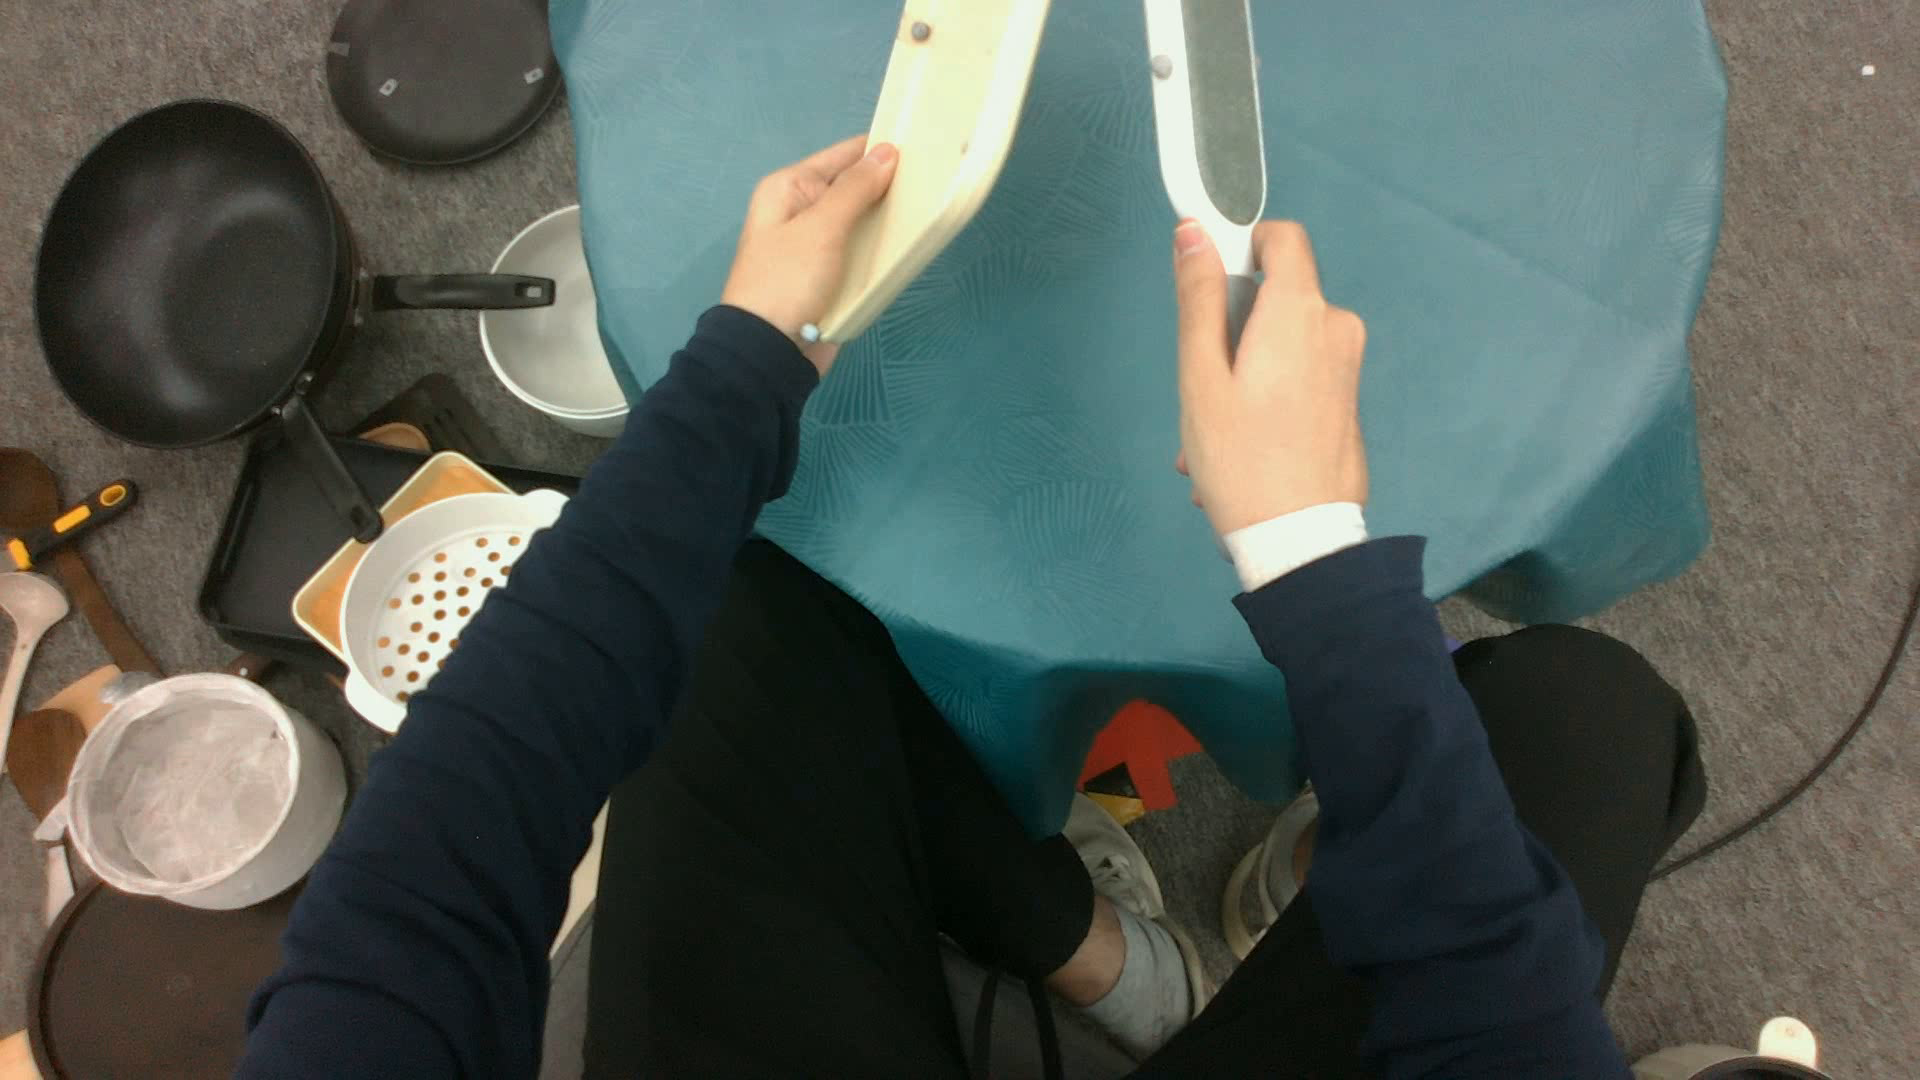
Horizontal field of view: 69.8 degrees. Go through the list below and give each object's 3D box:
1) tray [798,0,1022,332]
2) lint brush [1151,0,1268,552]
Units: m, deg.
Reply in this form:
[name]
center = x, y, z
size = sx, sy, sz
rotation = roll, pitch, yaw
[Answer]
[tray]
center = -0.010, -0.210, 0.578
size = 0.017, 0.170, 0.240
rotation = 21, 67, -20
[lint brush]
center = 0.097, -0.149, 0.537
size = 0.021, 0.060, 0.309
rotation = -6, 86, 35
